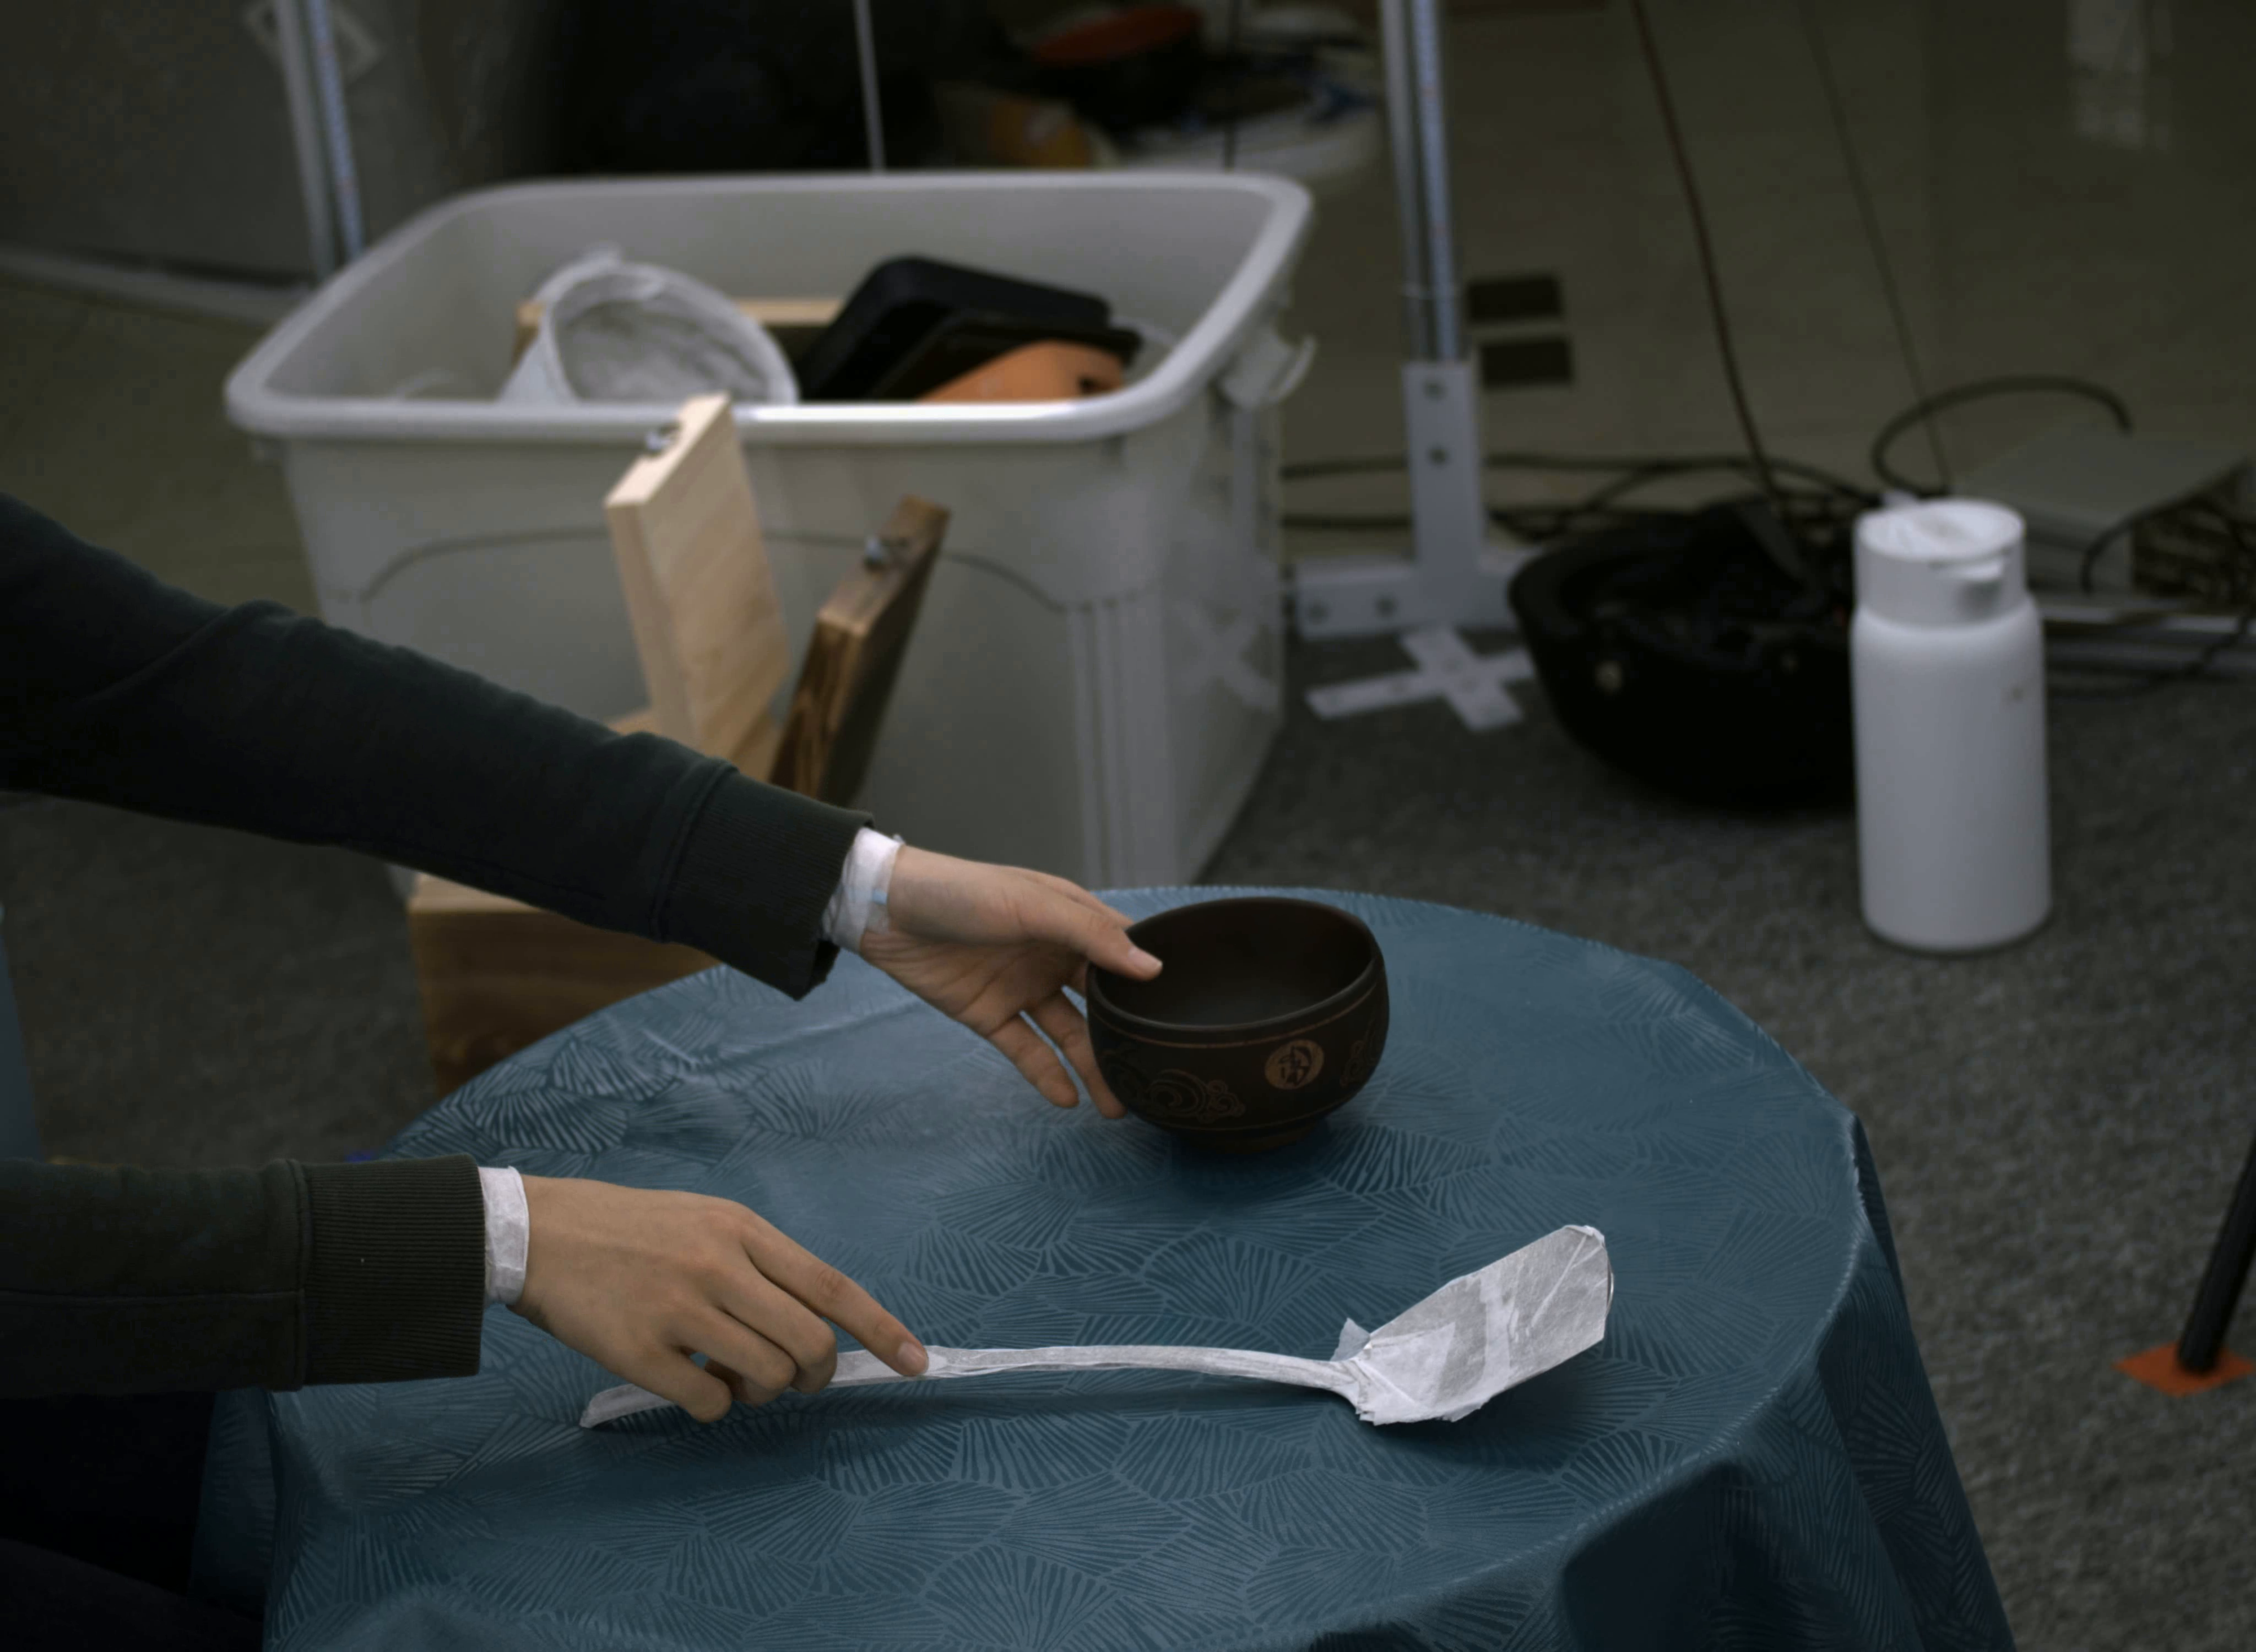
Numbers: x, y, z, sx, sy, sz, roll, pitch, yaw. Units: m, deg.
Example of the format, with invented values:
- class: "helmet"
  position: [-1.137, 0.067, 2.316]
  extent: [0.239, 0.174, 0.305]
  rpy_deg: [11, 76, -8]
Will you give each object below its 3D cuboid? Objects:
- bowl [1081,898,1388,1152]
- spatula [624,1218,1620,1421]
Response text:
- class: "bowl"
  position: [0.043, 0.082, 2.179]
  extent: [0.118, 0.071, 0.116]
  rpy_deg: [-6, 23, 3]
- class: "spatula"
  position: [-0.007, 0.184, 2.012]
  extent: [0.364, 0.045, 0.097]
  rpy_deg: [-2, 28, 8]
